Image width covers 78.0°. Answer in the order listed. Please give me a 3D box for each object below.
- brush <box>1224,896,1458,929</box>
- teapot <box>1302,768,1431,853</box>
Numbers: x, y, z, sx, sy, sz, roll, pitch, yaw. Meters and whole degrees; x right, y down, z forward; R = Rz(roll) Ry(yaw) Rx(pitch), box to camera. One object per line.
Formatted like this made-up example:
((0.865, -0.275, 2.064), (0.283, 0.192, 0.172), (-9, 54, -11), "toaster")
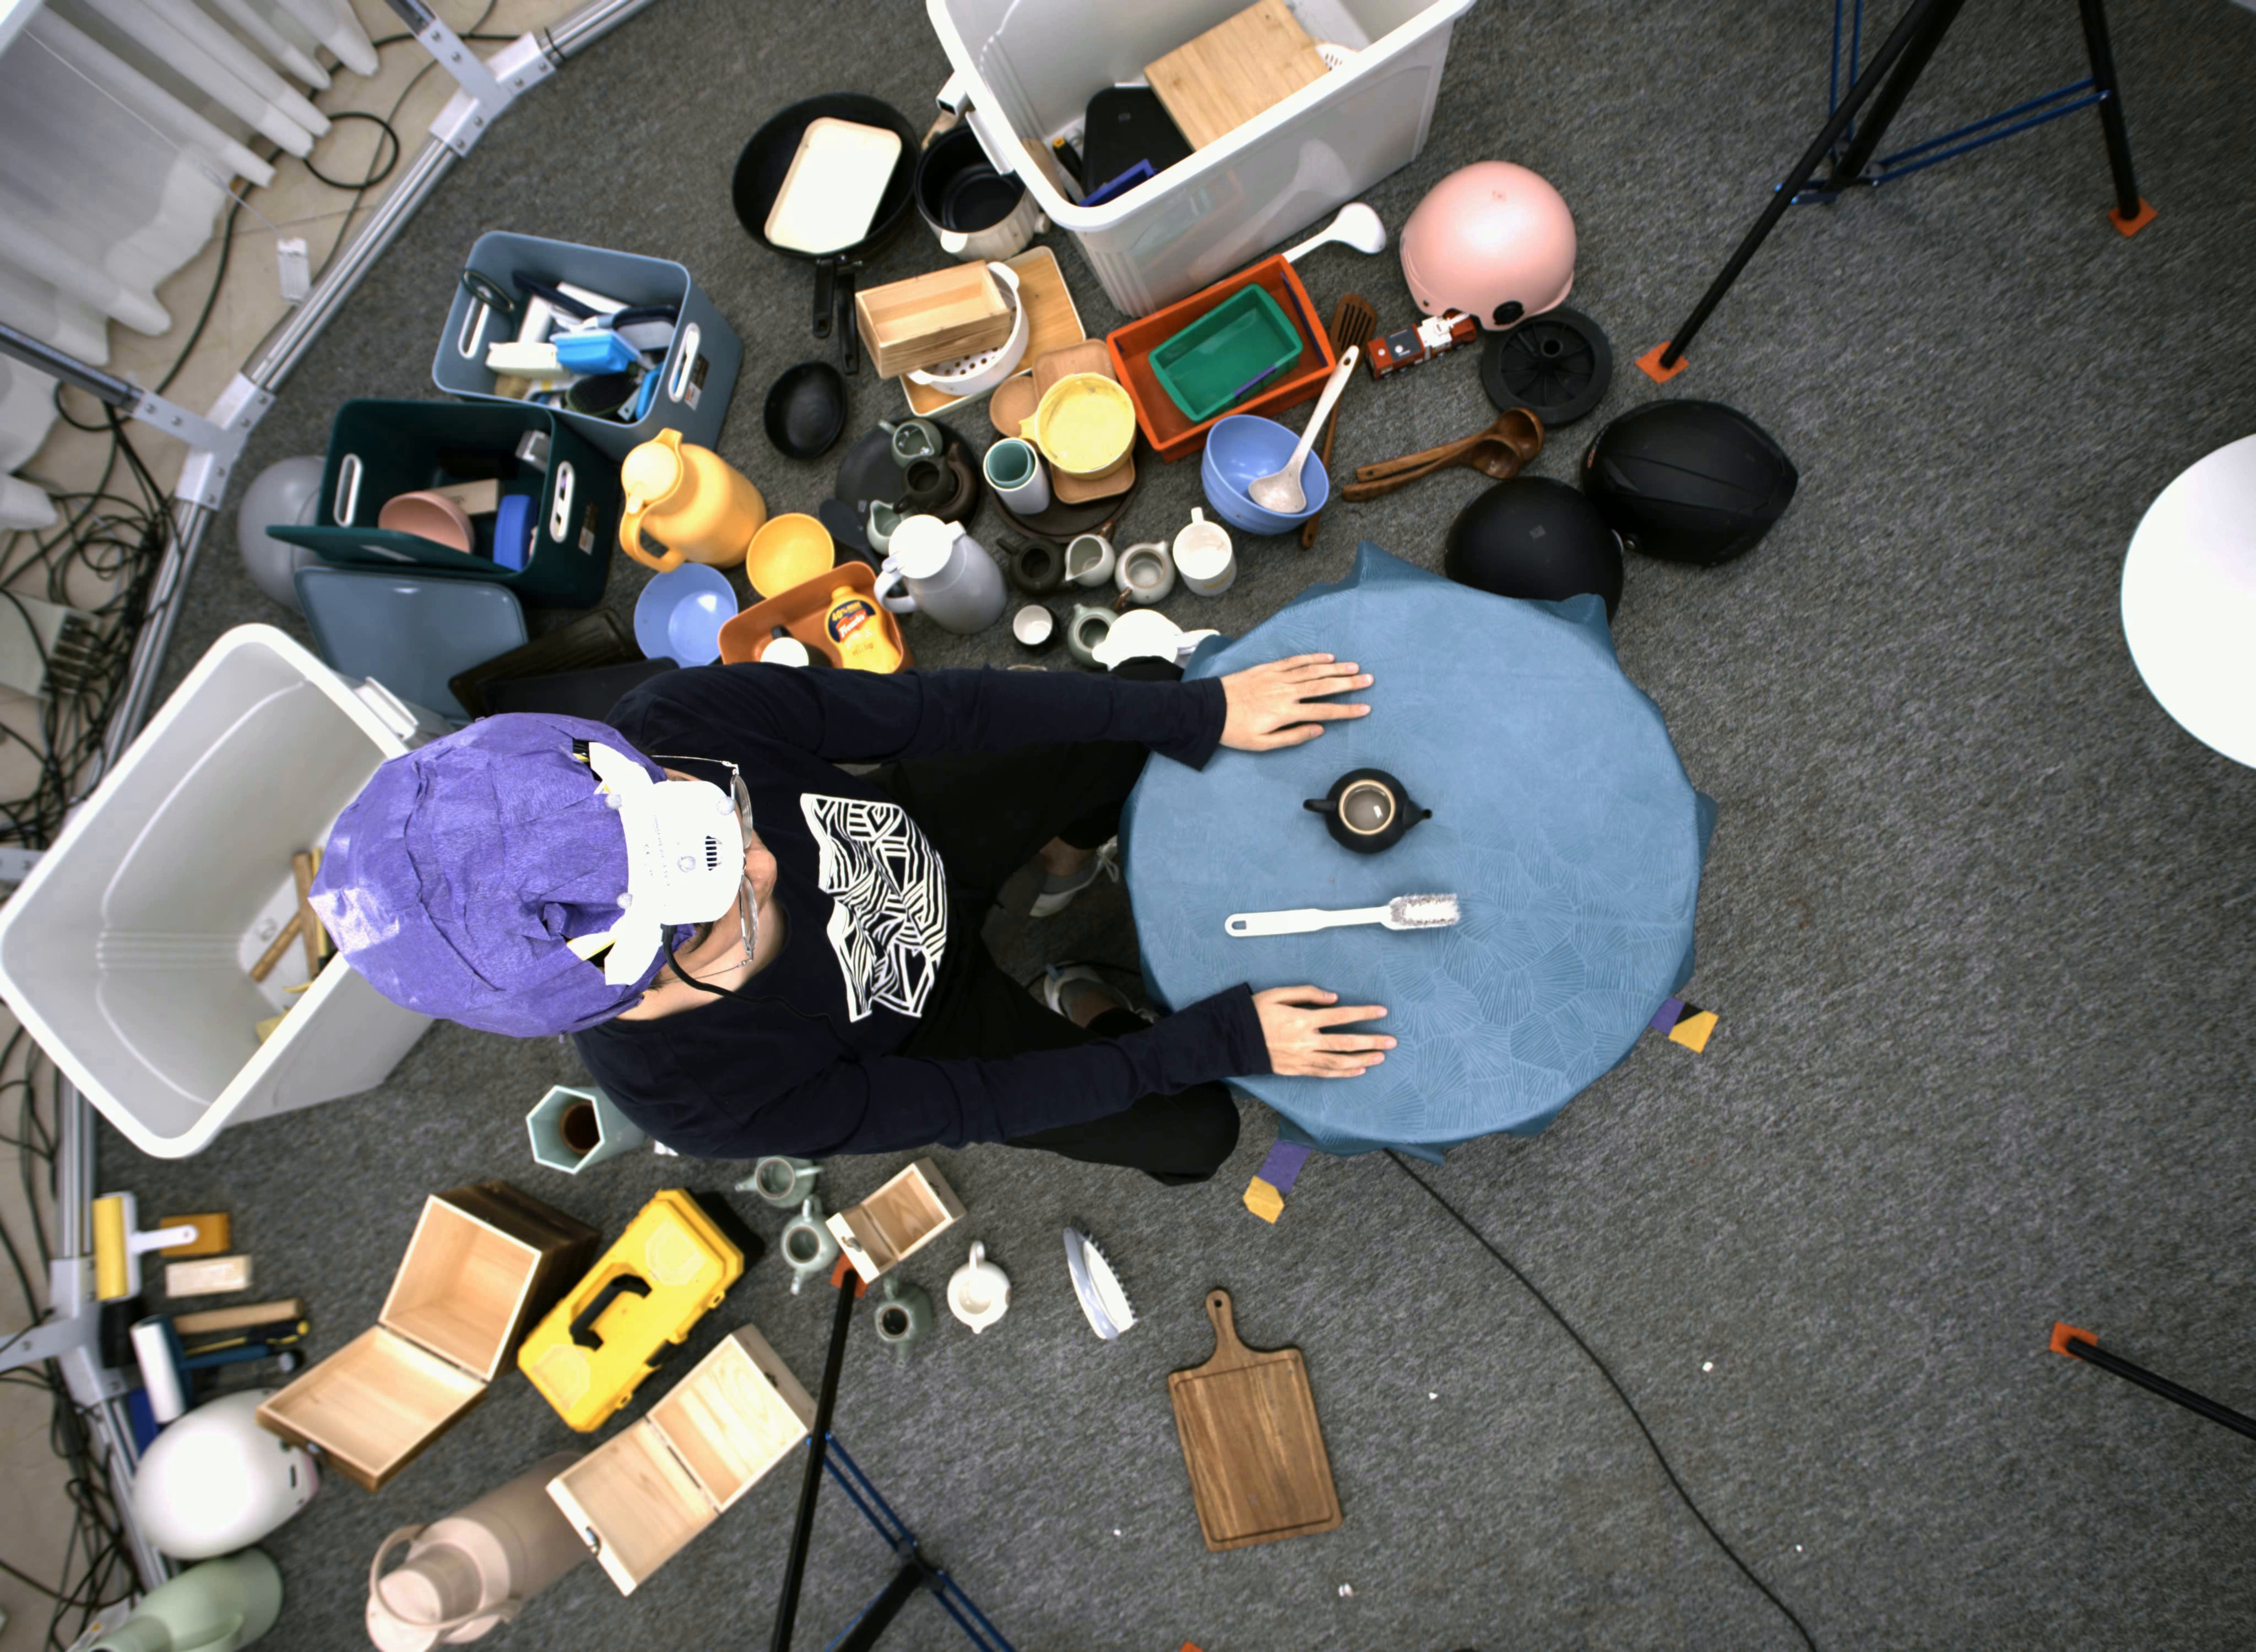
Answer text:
((0.220, 0.090, 1.443), (0.244, 0.050, 0.034), (-2, 87, 10), "brush")
((0.249, -0.018, 1.440), (0.133, 0.053, 0.090), (5, 84, 11), "teapot")
